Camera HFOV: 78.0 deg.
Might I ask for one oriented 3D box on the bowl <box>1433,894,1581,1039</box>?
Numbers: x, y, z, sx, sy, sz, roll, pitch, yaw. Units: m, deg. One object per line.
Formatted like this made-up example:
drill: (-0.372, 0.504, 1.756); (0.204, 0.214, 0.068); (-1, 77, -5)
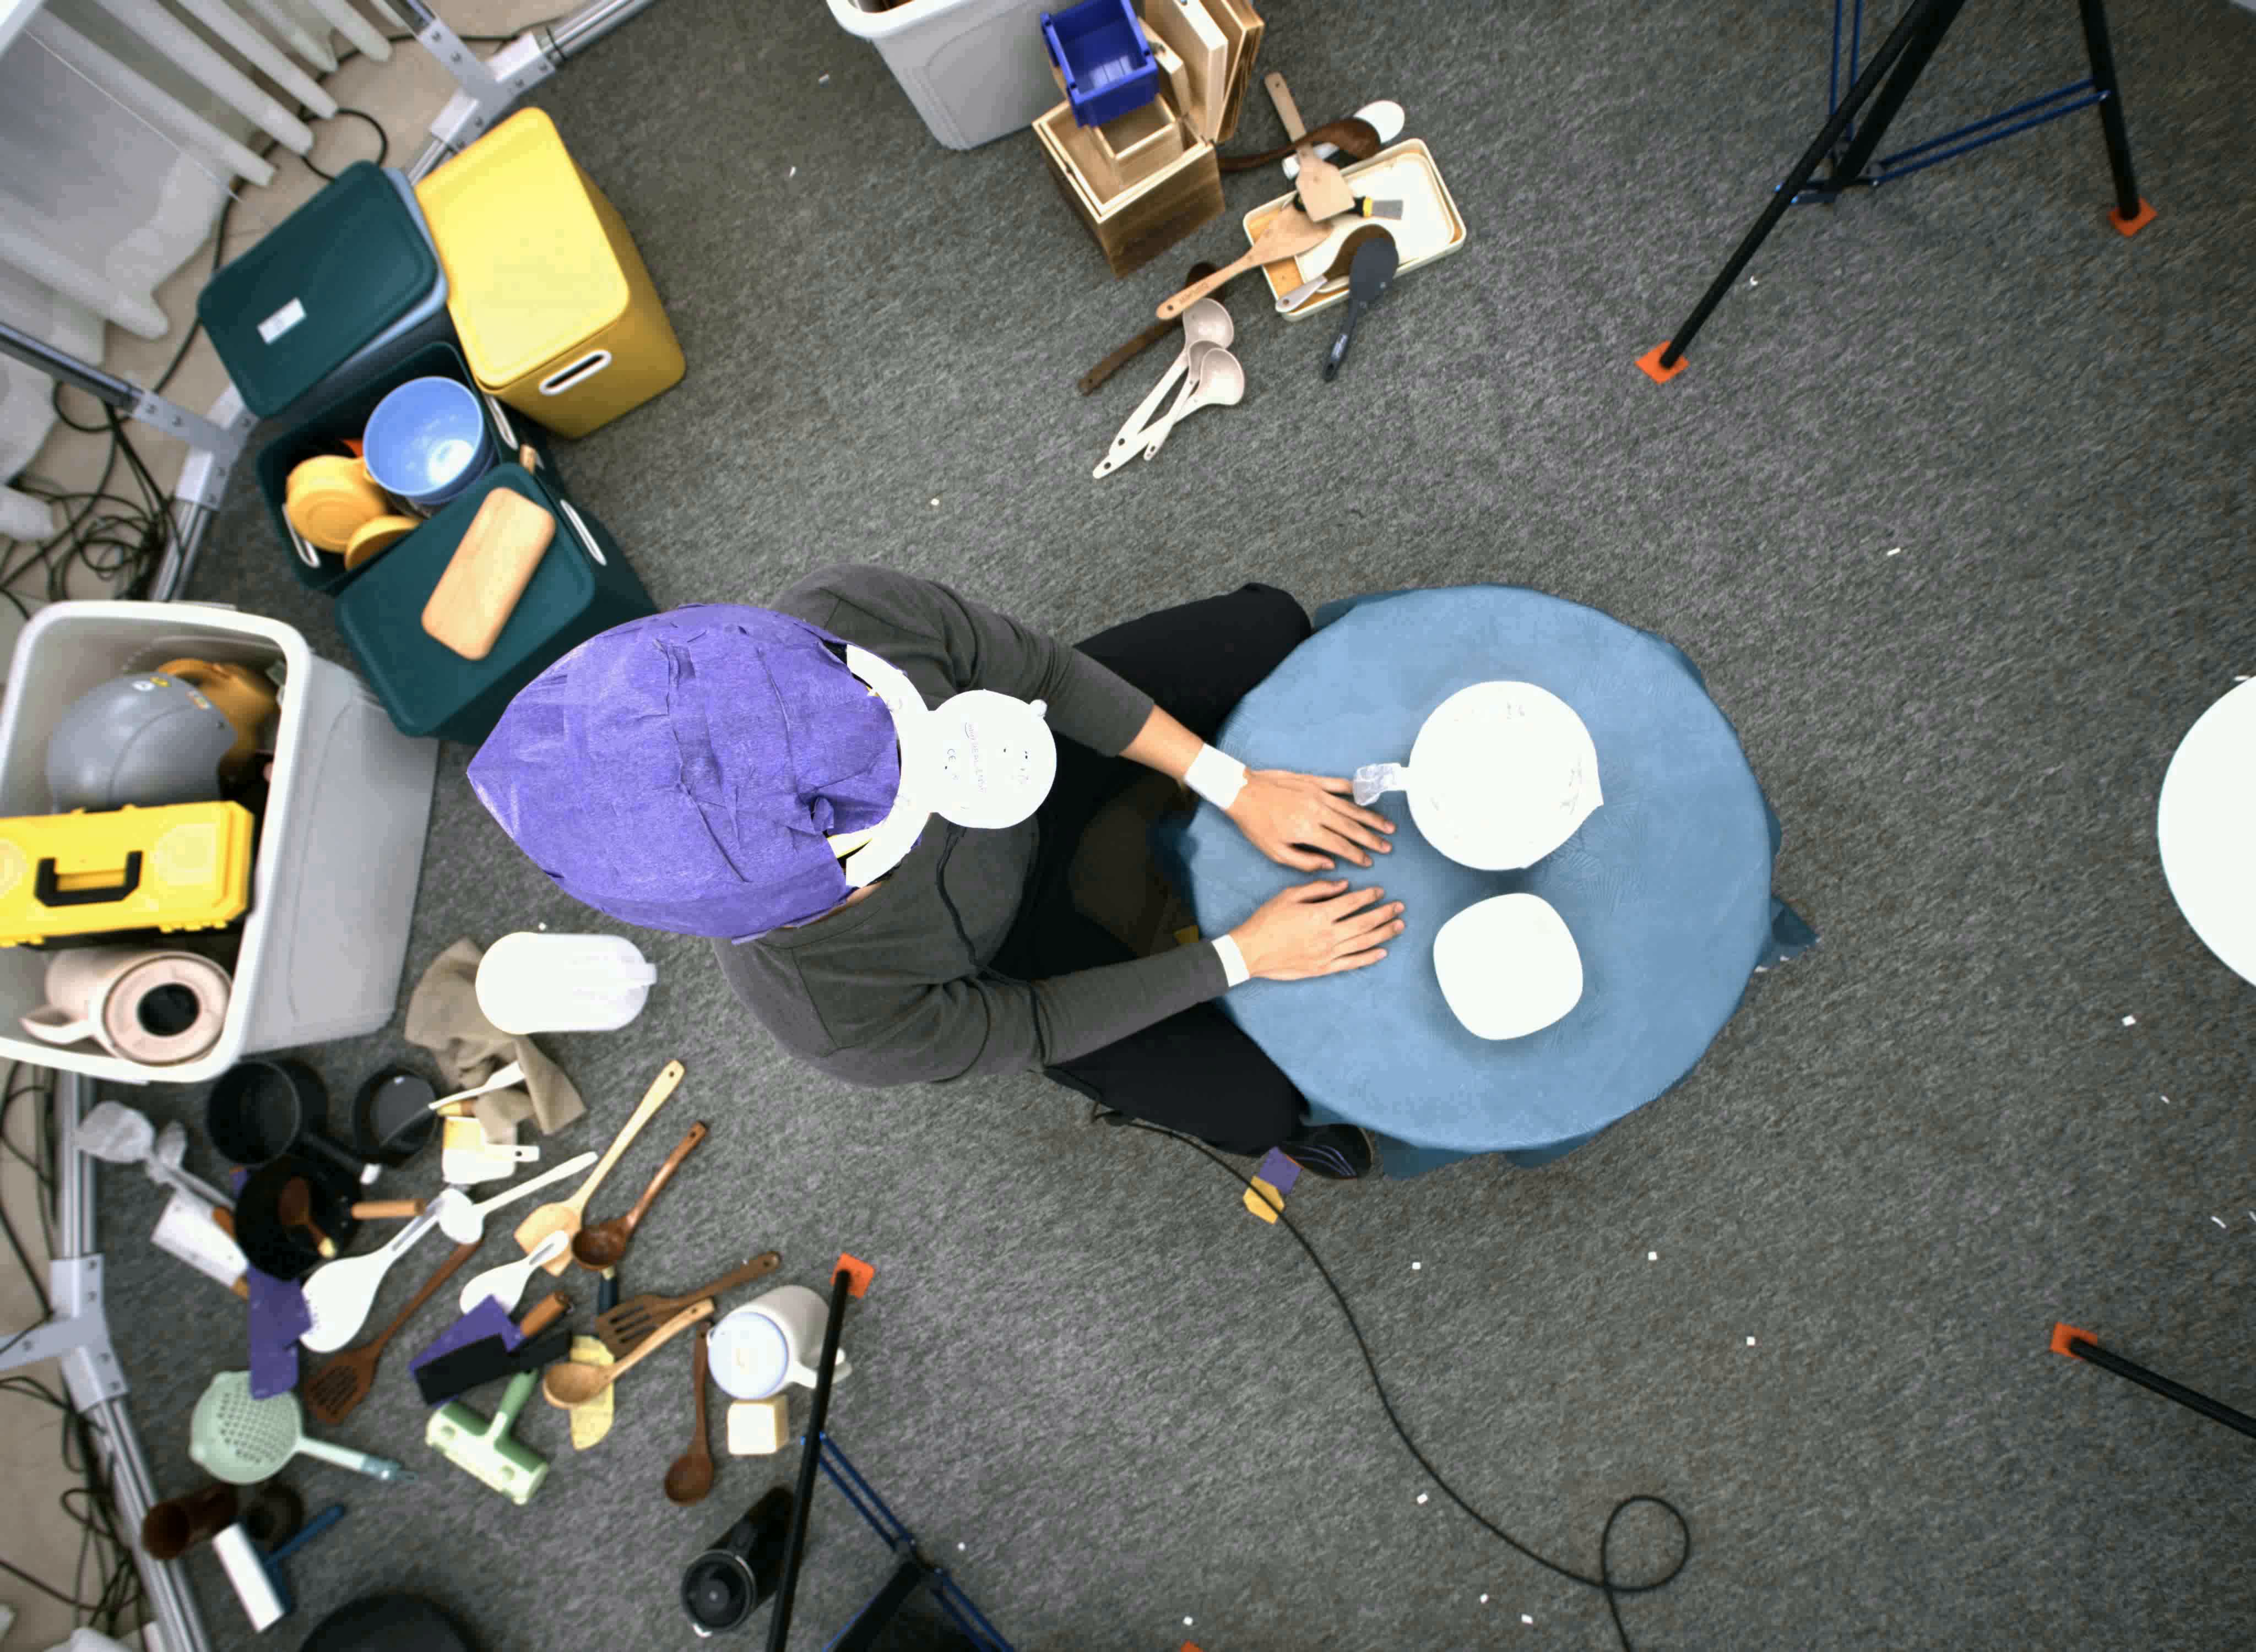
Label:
bowl: (0.383, 0.141, 1.406); (0.152, 0.059, 0.151); (-1, 86, 9)

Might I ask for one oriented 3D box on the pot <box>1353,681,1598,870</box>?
pot: (0.344, -0.047, 1.384); (0.235, 0.136, 0.178); (-2, 86, 11)
